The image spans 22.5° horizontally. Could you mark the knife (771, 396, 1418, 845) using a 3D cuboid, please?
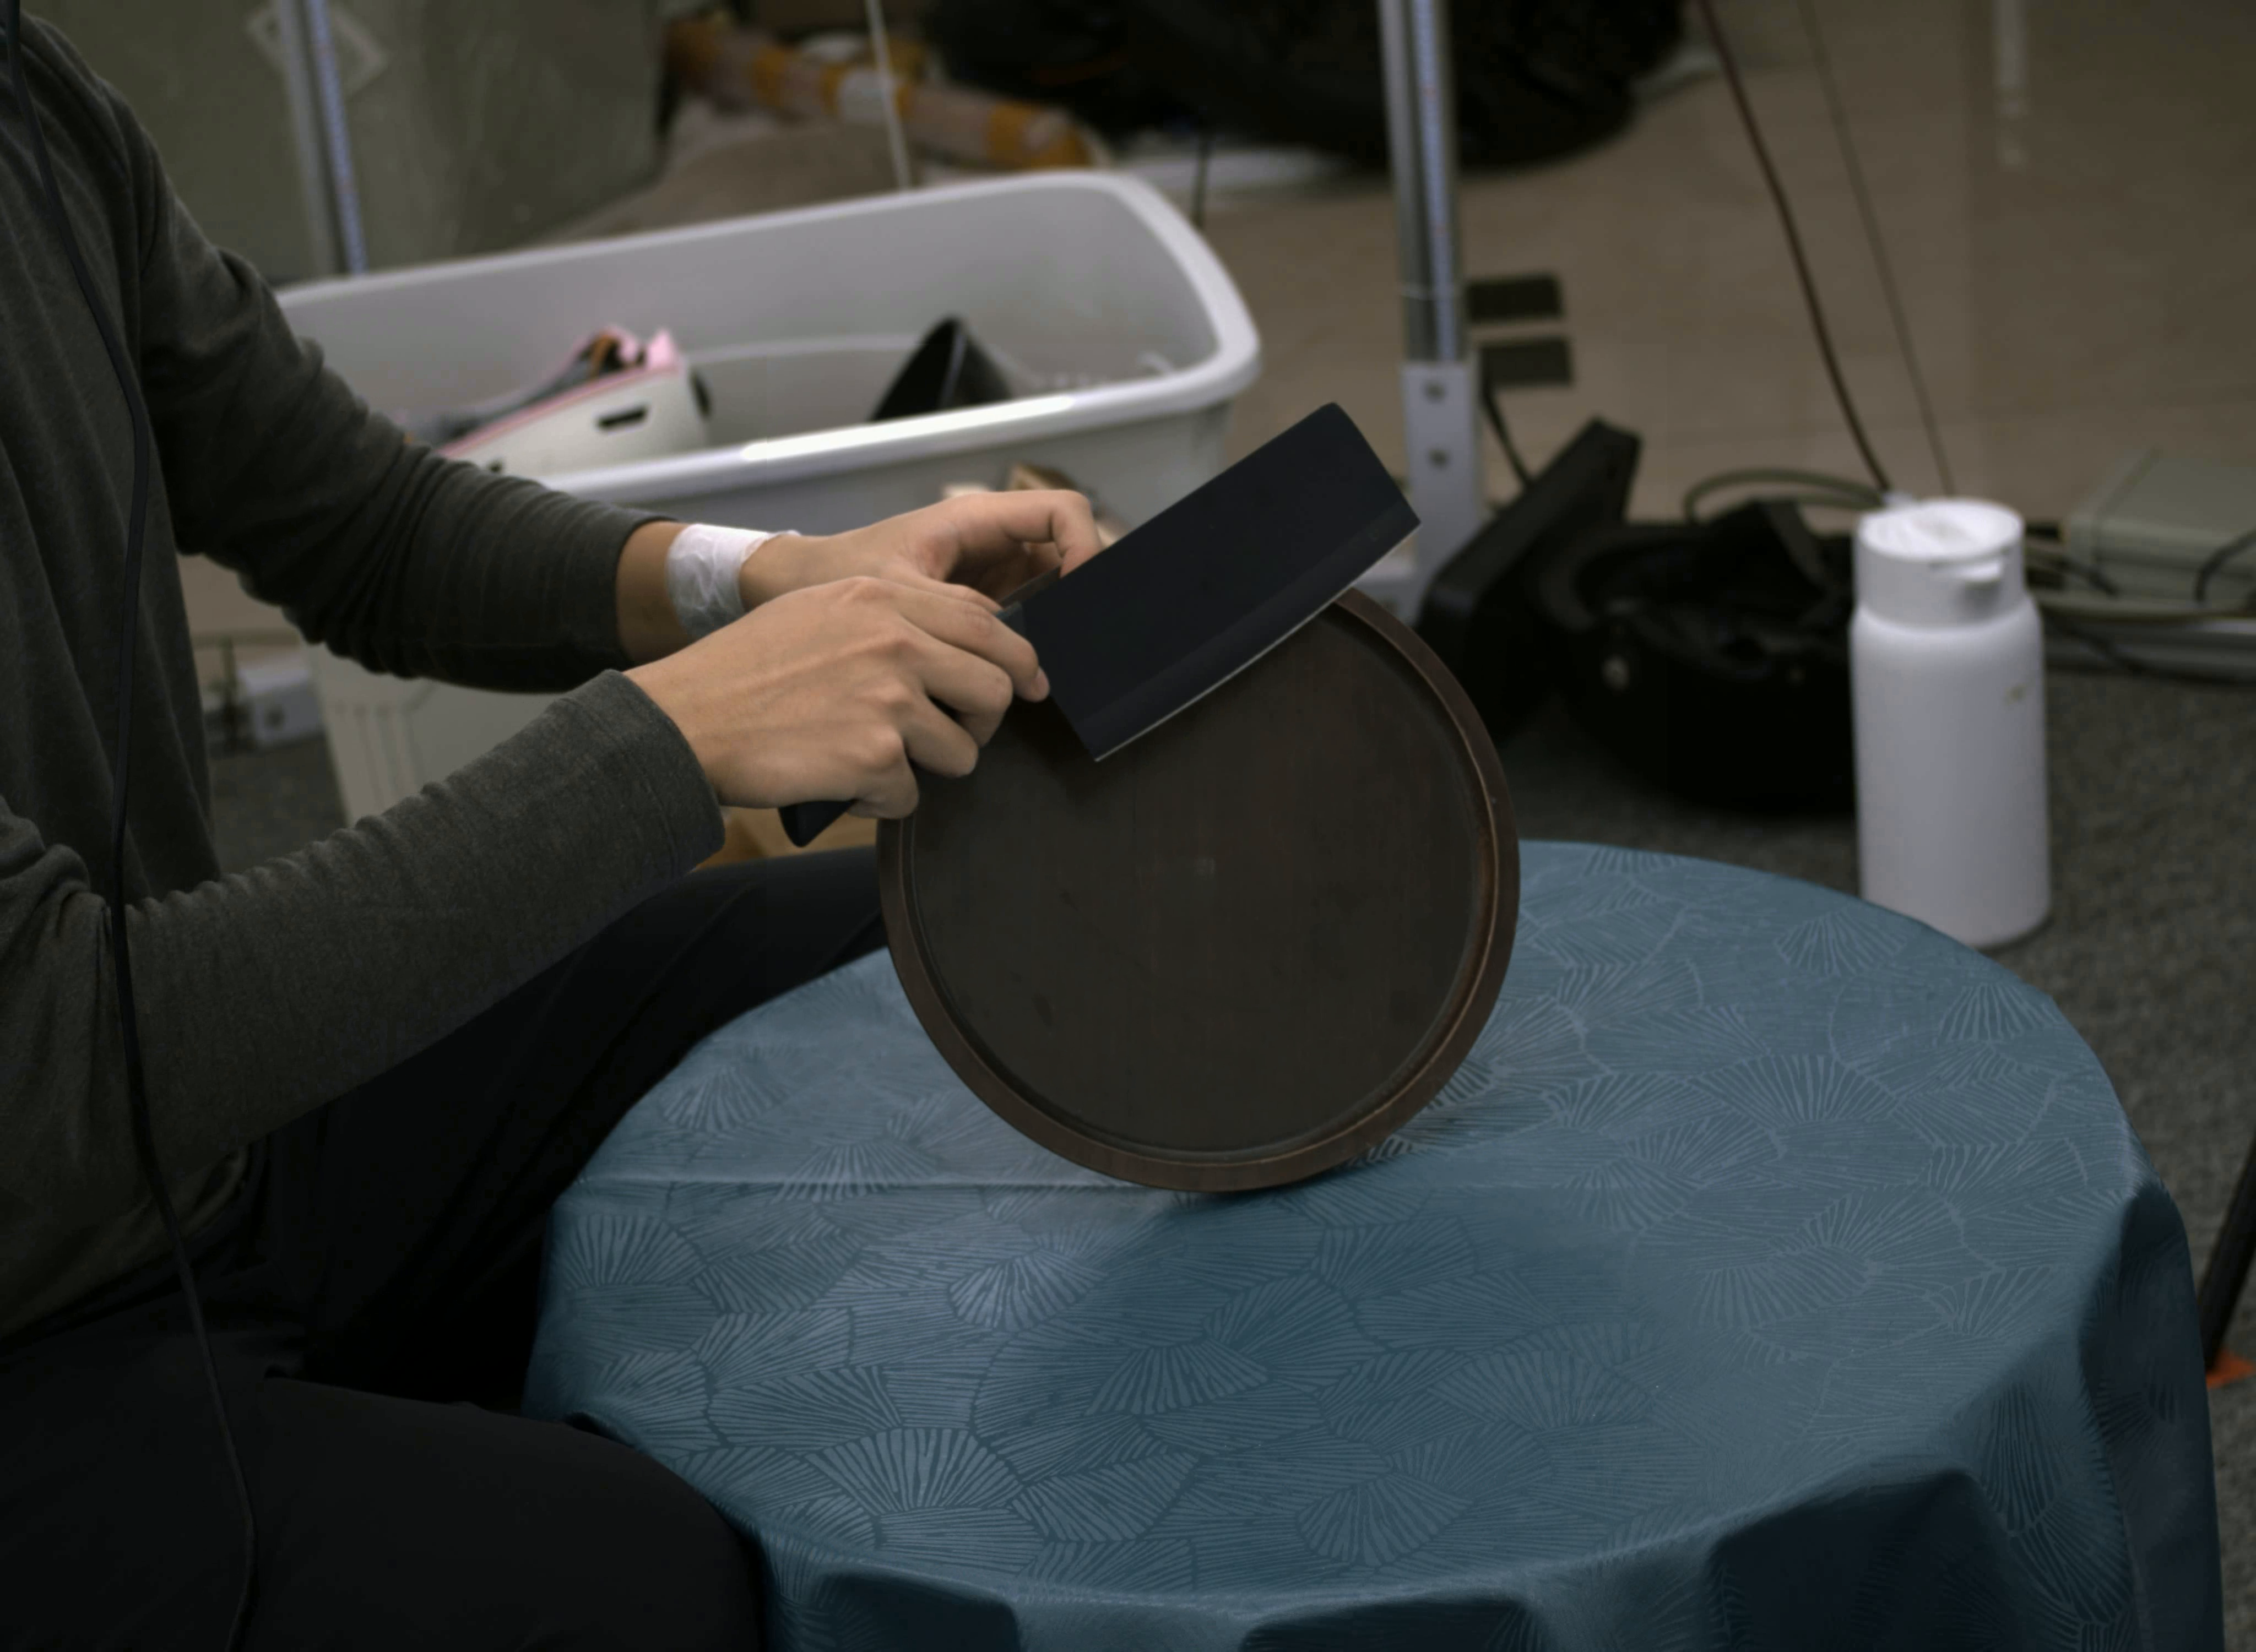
[{"bbox_3d":[-0.012,-0.071,2.126,0.300,0.081,0.021,-30,-2,-28],"label":"knife"}]

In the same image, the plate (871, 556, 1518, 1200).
[{"bbox_3d":[0.025,0.018,2.157,0.254,0.254,0.029,-13,-4,-15],"label":"plate"}]
